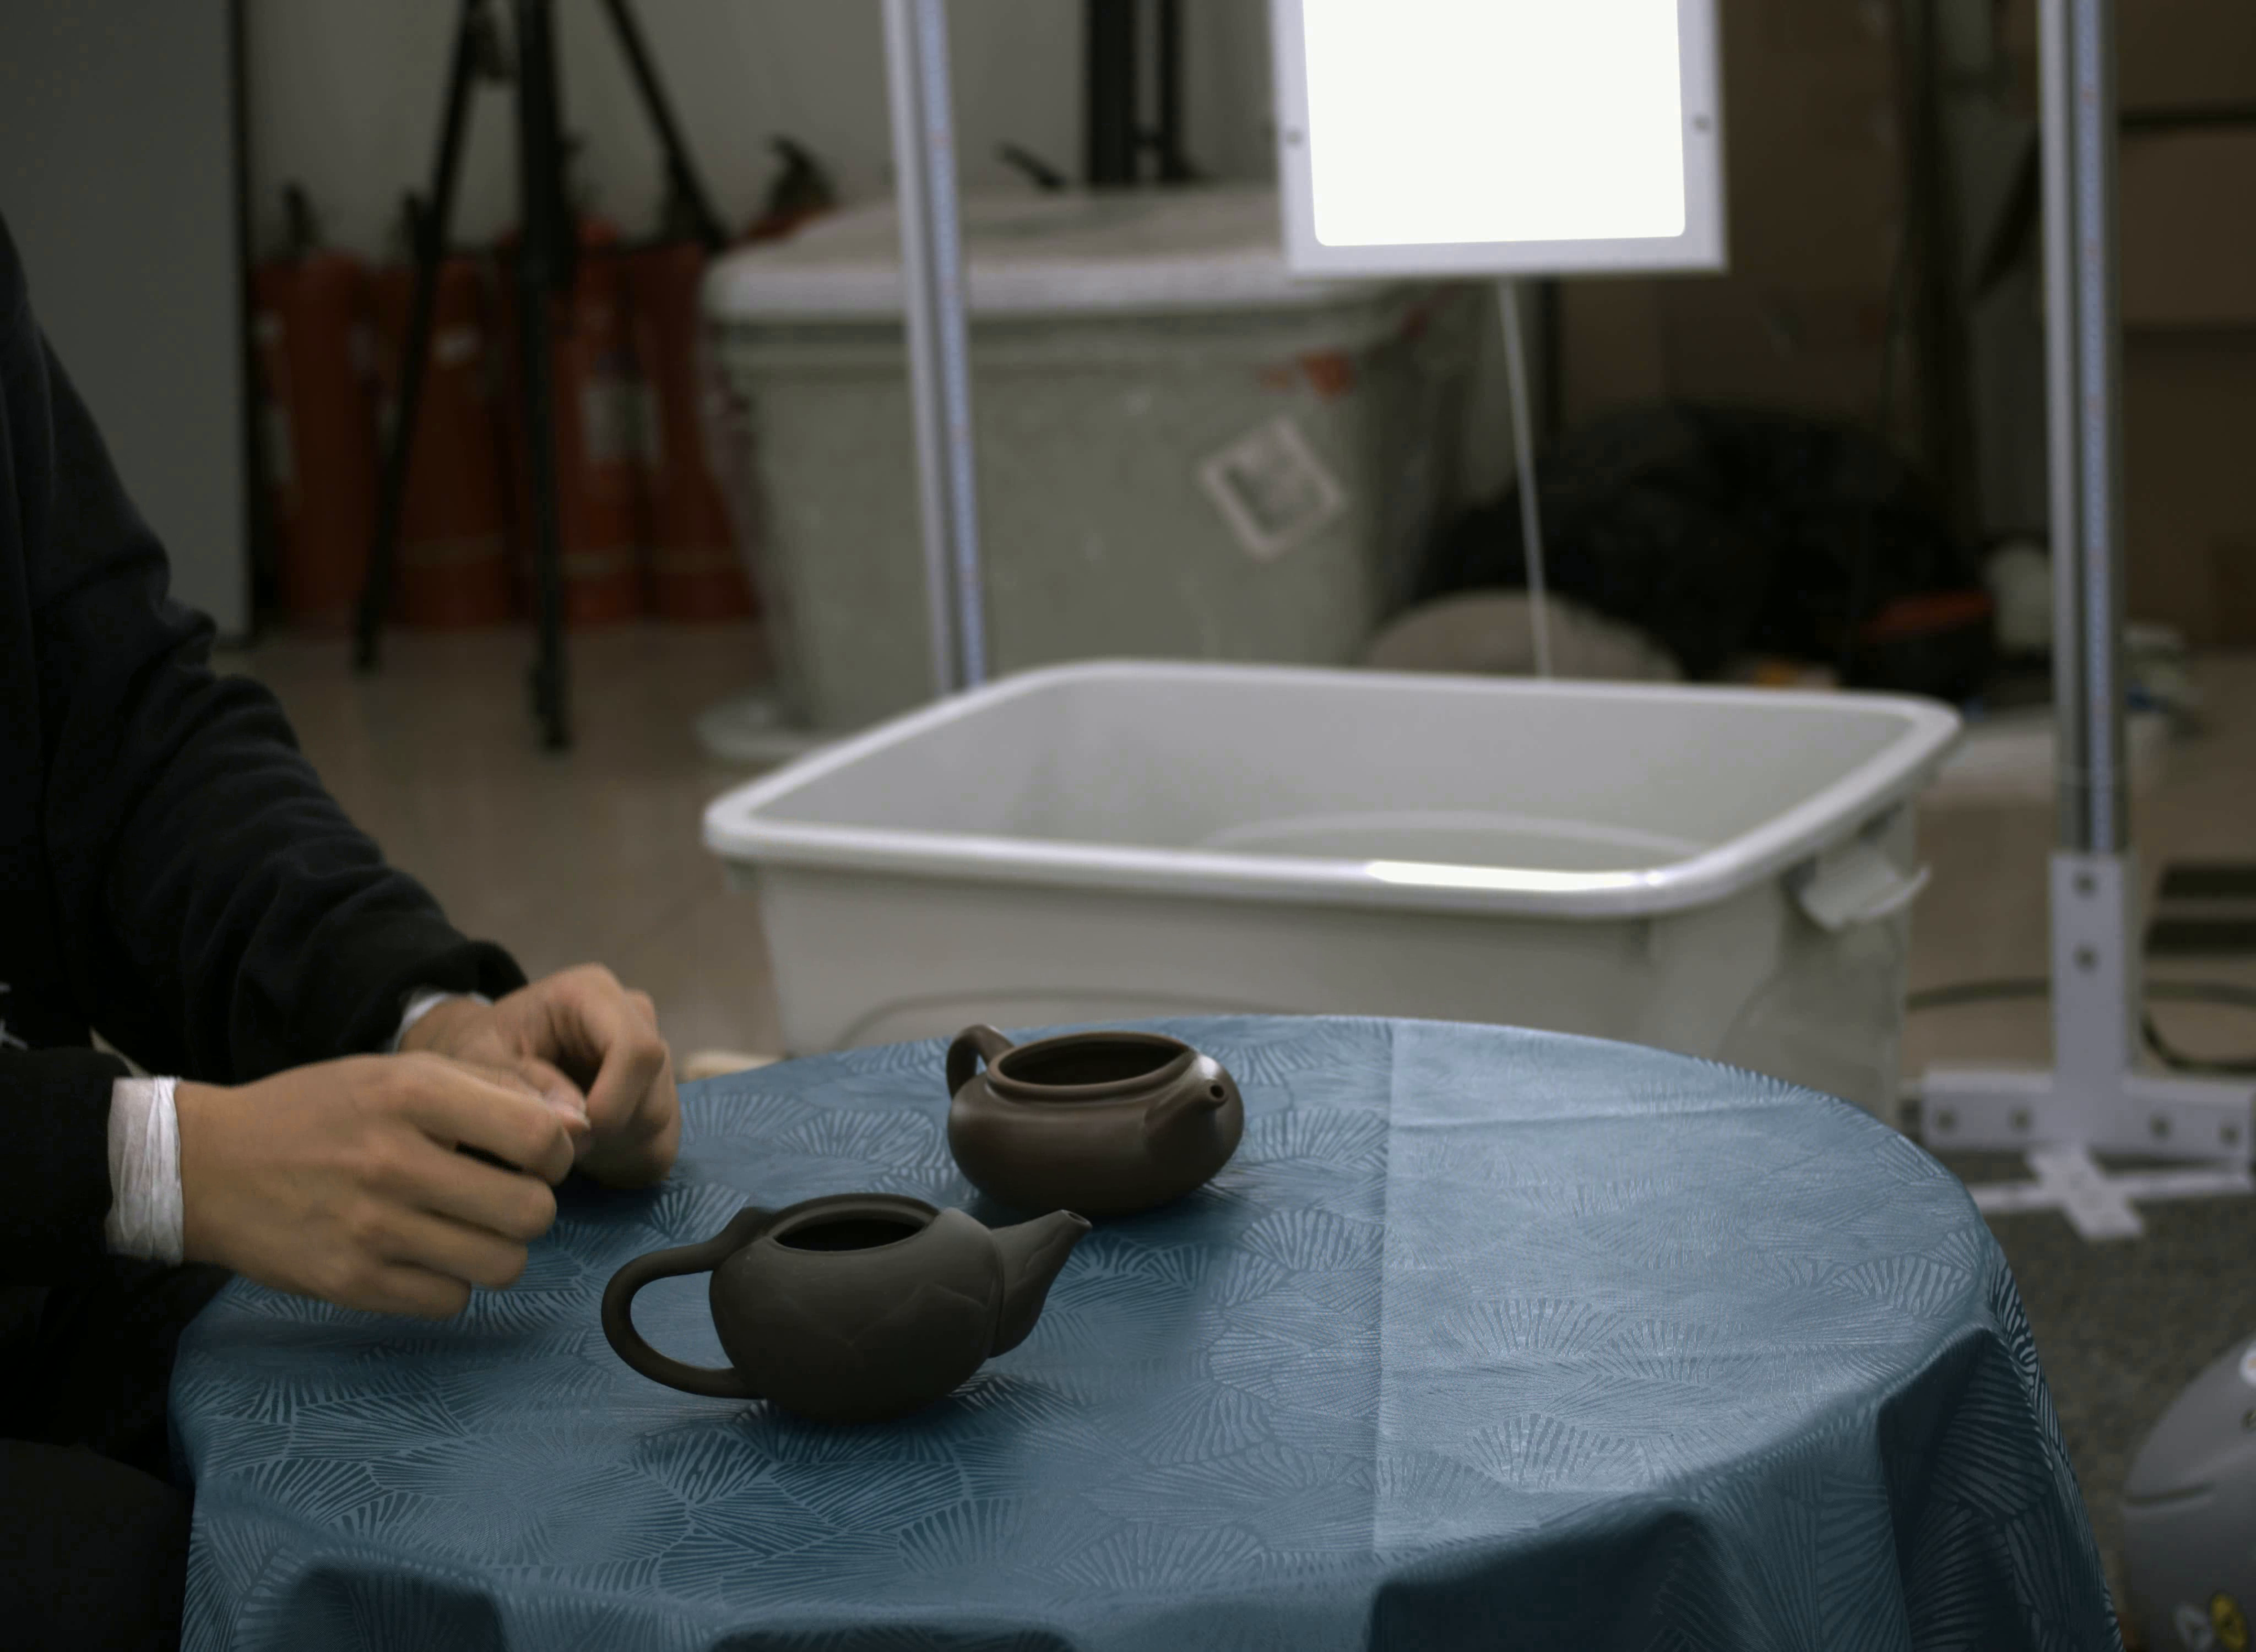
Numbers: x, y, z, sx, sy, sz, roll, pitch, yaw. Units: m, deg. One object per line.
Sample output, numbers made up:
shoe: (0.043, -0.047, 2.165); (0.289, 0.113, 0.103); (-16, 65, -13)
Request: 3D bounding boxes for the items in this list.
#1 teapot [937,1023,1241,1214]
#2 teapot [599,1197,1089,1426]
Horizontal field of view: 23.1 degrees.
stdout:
teapot: (-0.015, 0.099, 1.899); (0.100, 0.054, 0.157); (-14, 17, -40)
teapot: (-0.087, 0.148, 1.709); (0.153, 0.064, 0.092); (-5, 12, -2)
